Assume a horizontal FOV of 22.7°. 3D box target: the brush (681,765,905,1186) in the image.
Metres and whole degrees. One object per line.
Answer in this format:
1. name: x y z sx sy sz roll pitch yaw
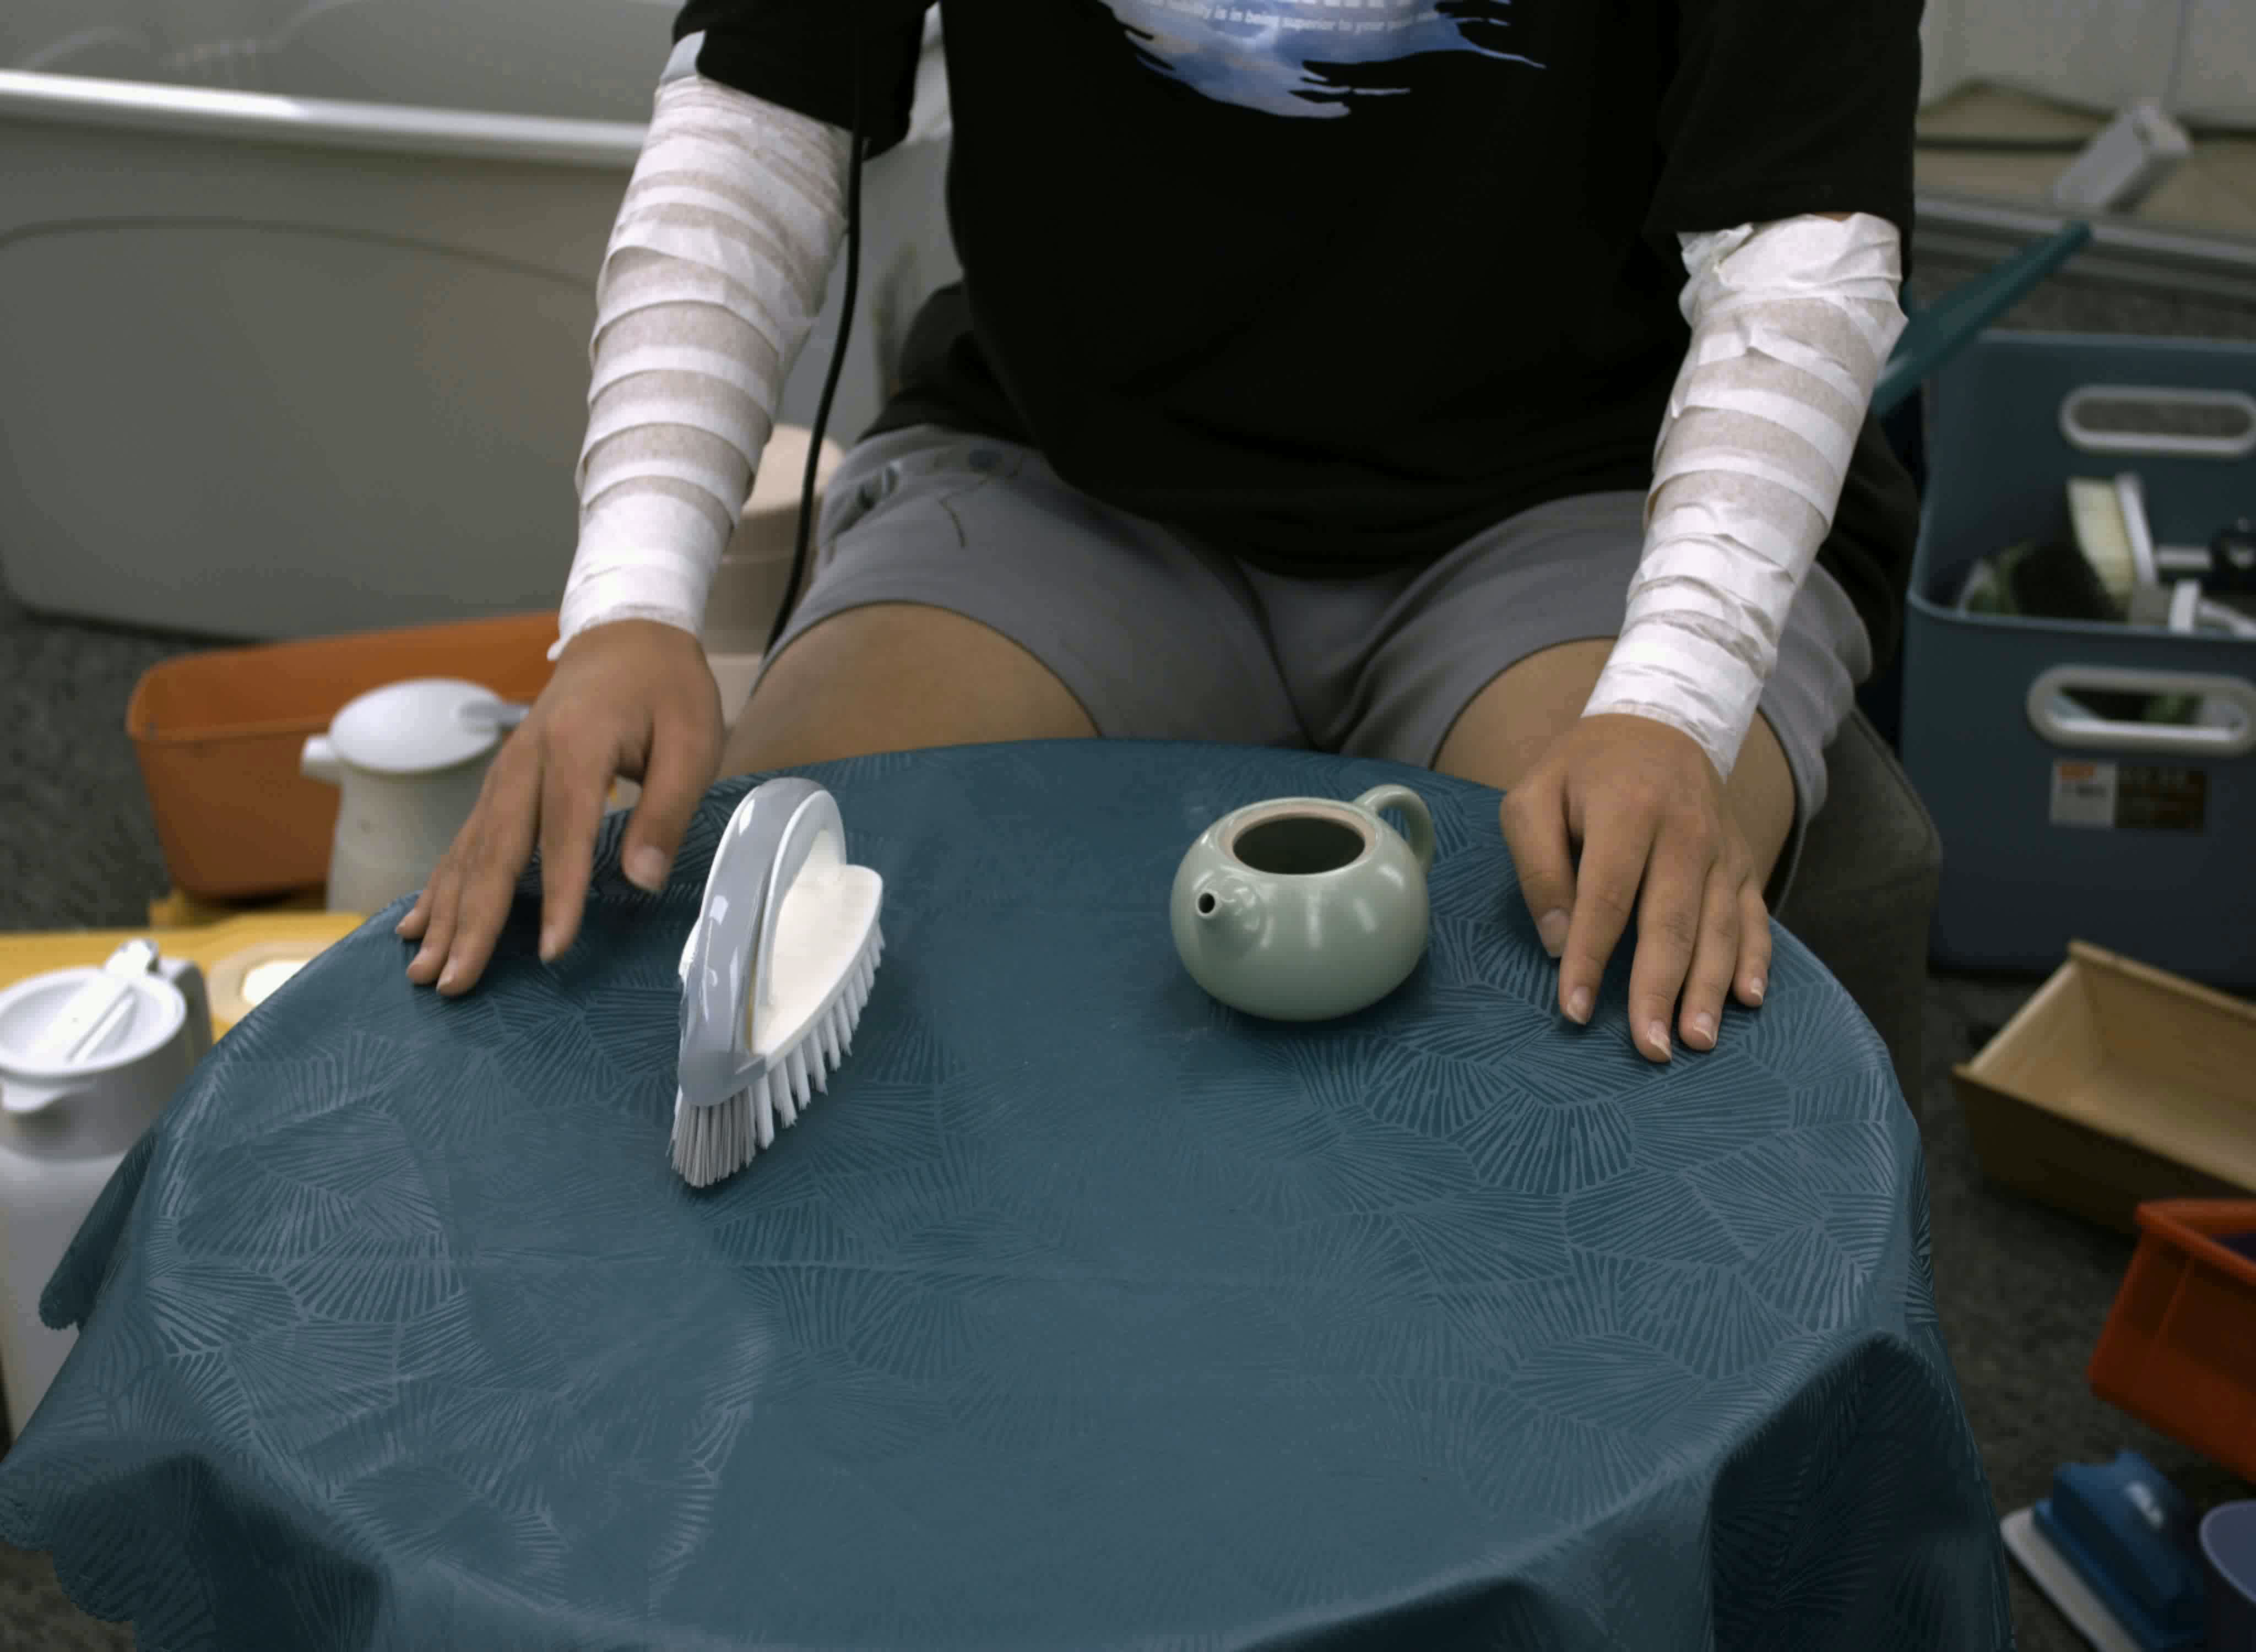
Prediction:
1. brush: -0.124 0.043 1.927 0.061 0.093 0.178 -1 28 13

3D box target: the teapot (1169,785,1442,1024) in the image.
1. teapot: 0.066 0.027 1.975 0.091 0.060 0.130 19 34 40
